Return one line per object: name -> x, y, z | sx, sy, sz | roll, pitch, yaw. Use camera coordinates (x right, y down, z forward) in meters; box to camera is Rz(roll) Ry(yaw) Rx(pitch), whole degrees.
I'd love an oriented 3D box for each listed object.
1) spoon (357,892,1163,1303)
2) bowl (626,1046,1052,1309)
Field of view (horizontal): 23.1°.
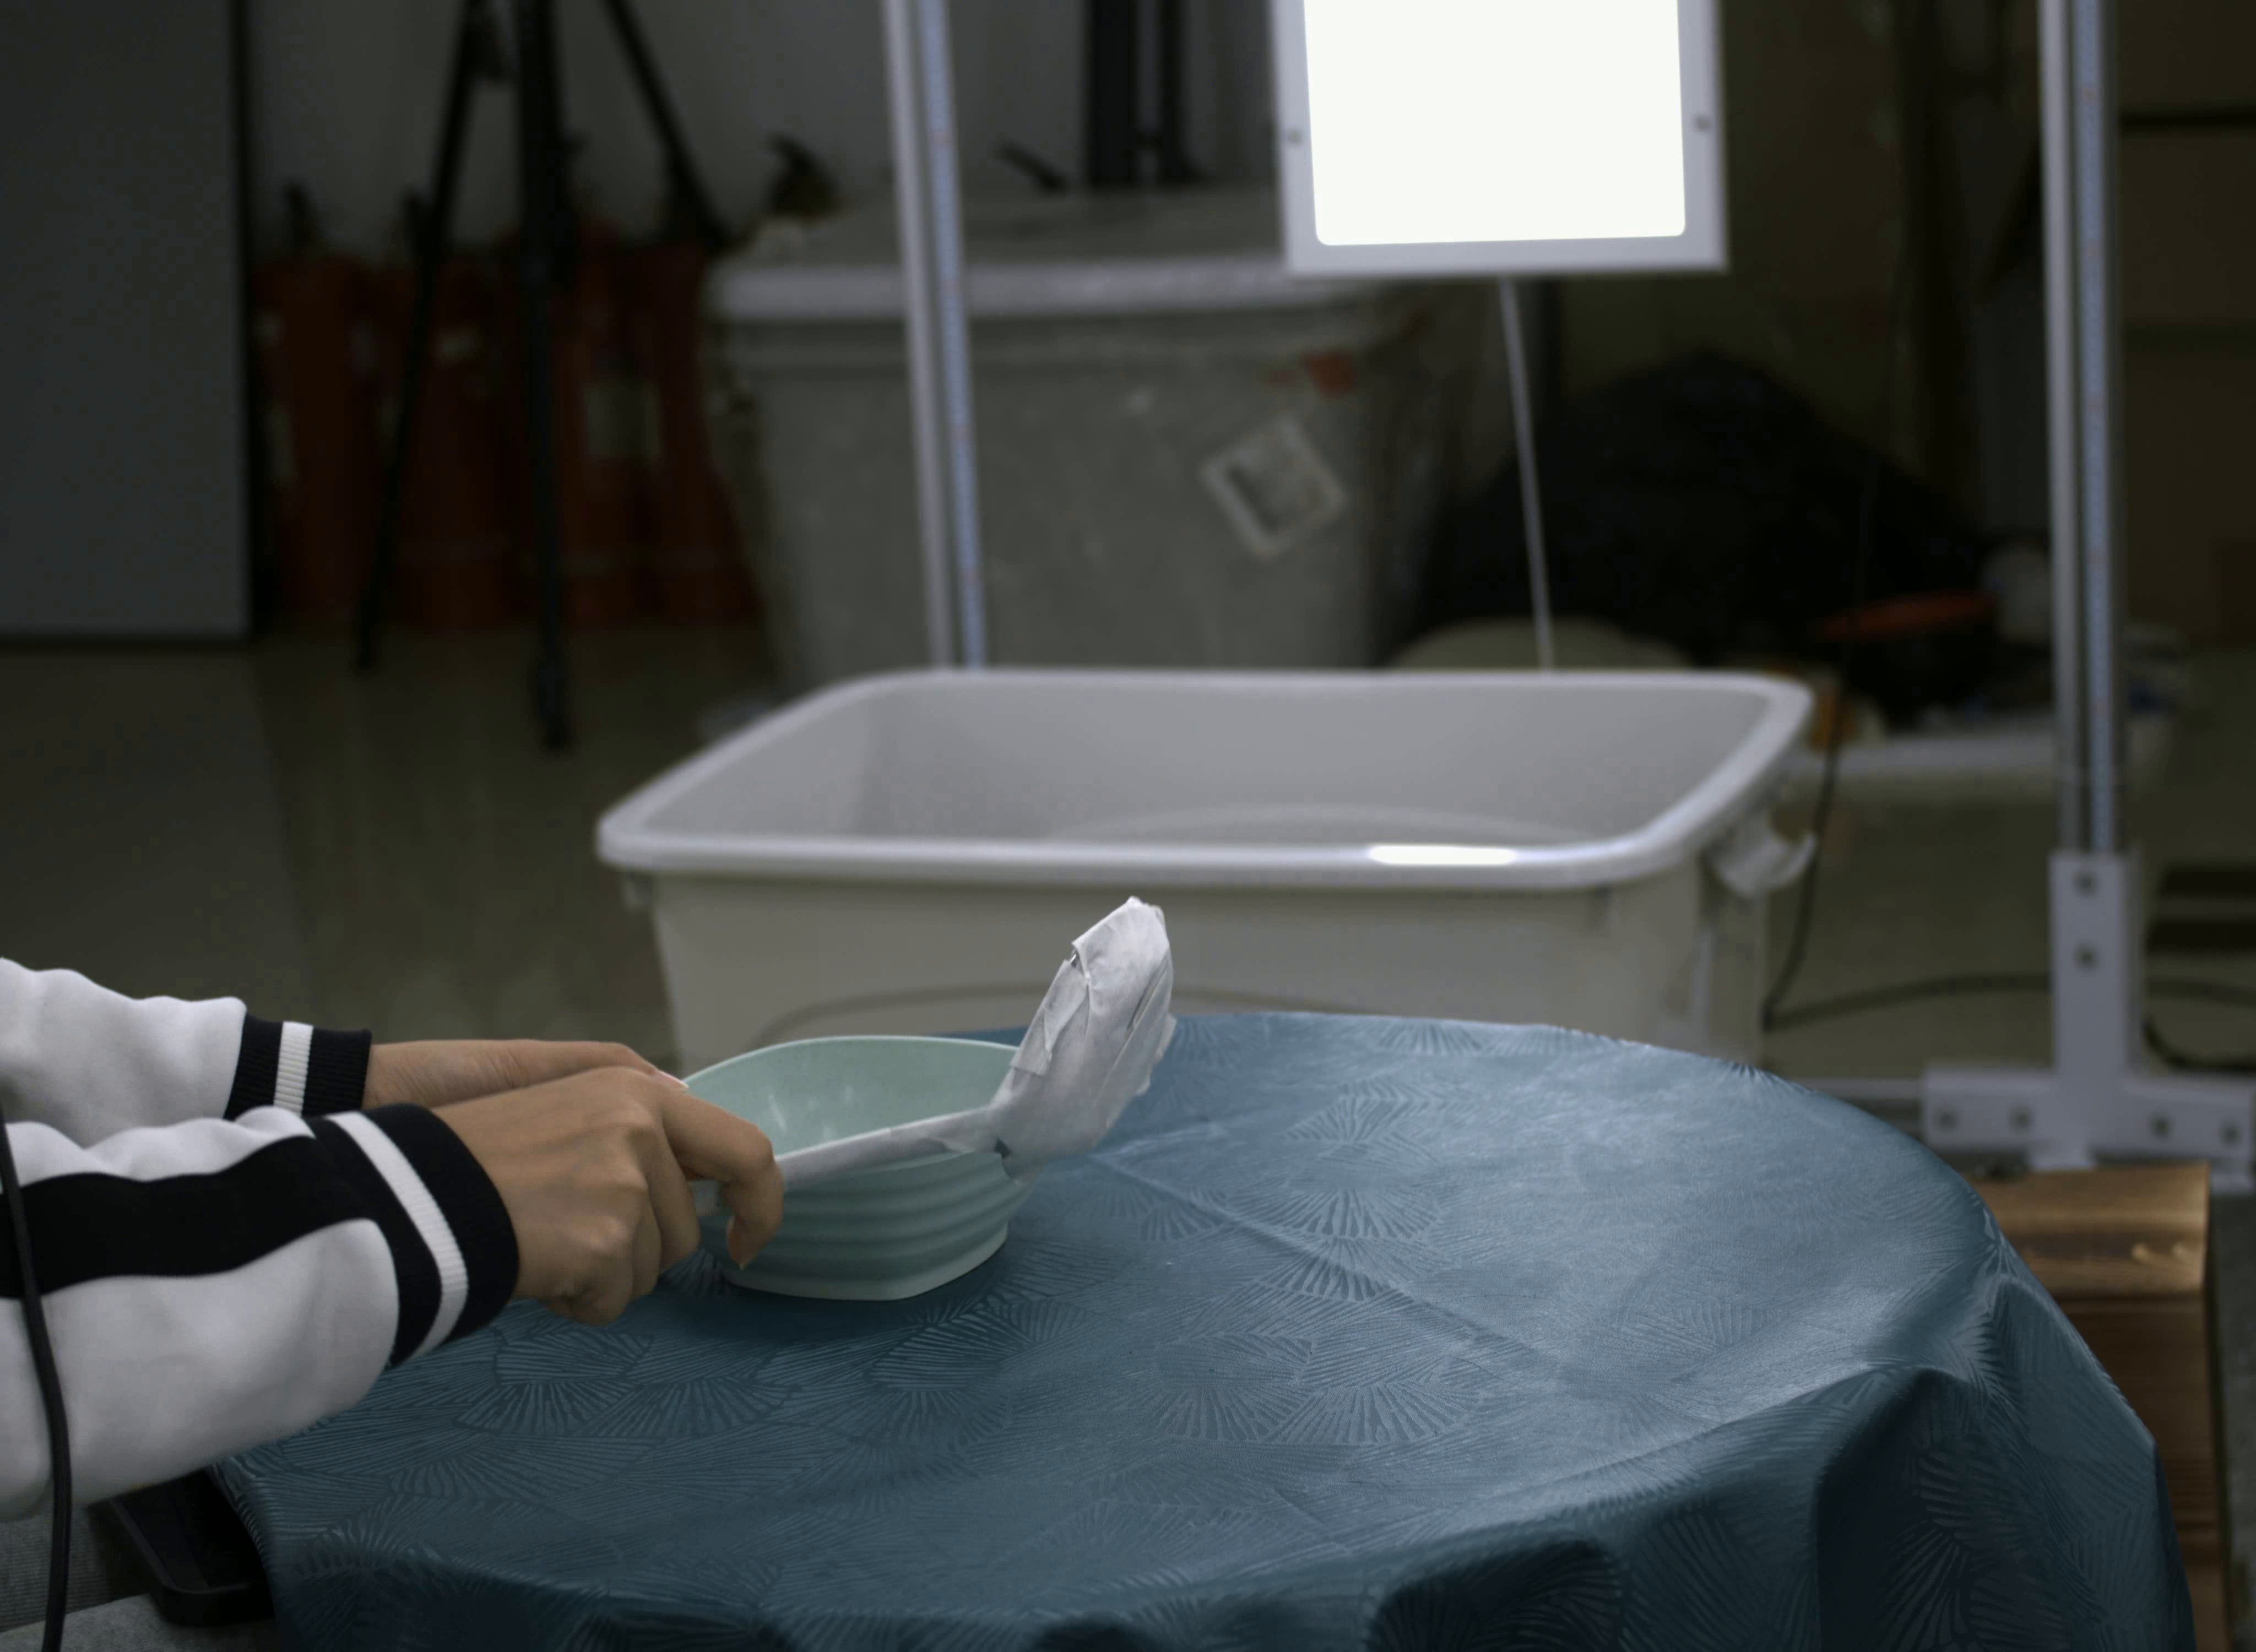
spoon -> -0.106, 0.090, 1.652 | 0.273, 0.101, 0.060 | -14, 40, -18
bowl -> -0.091, 0.121, 1.846 | 0.151, 0.059, 0.151 | -5, 13, 0
